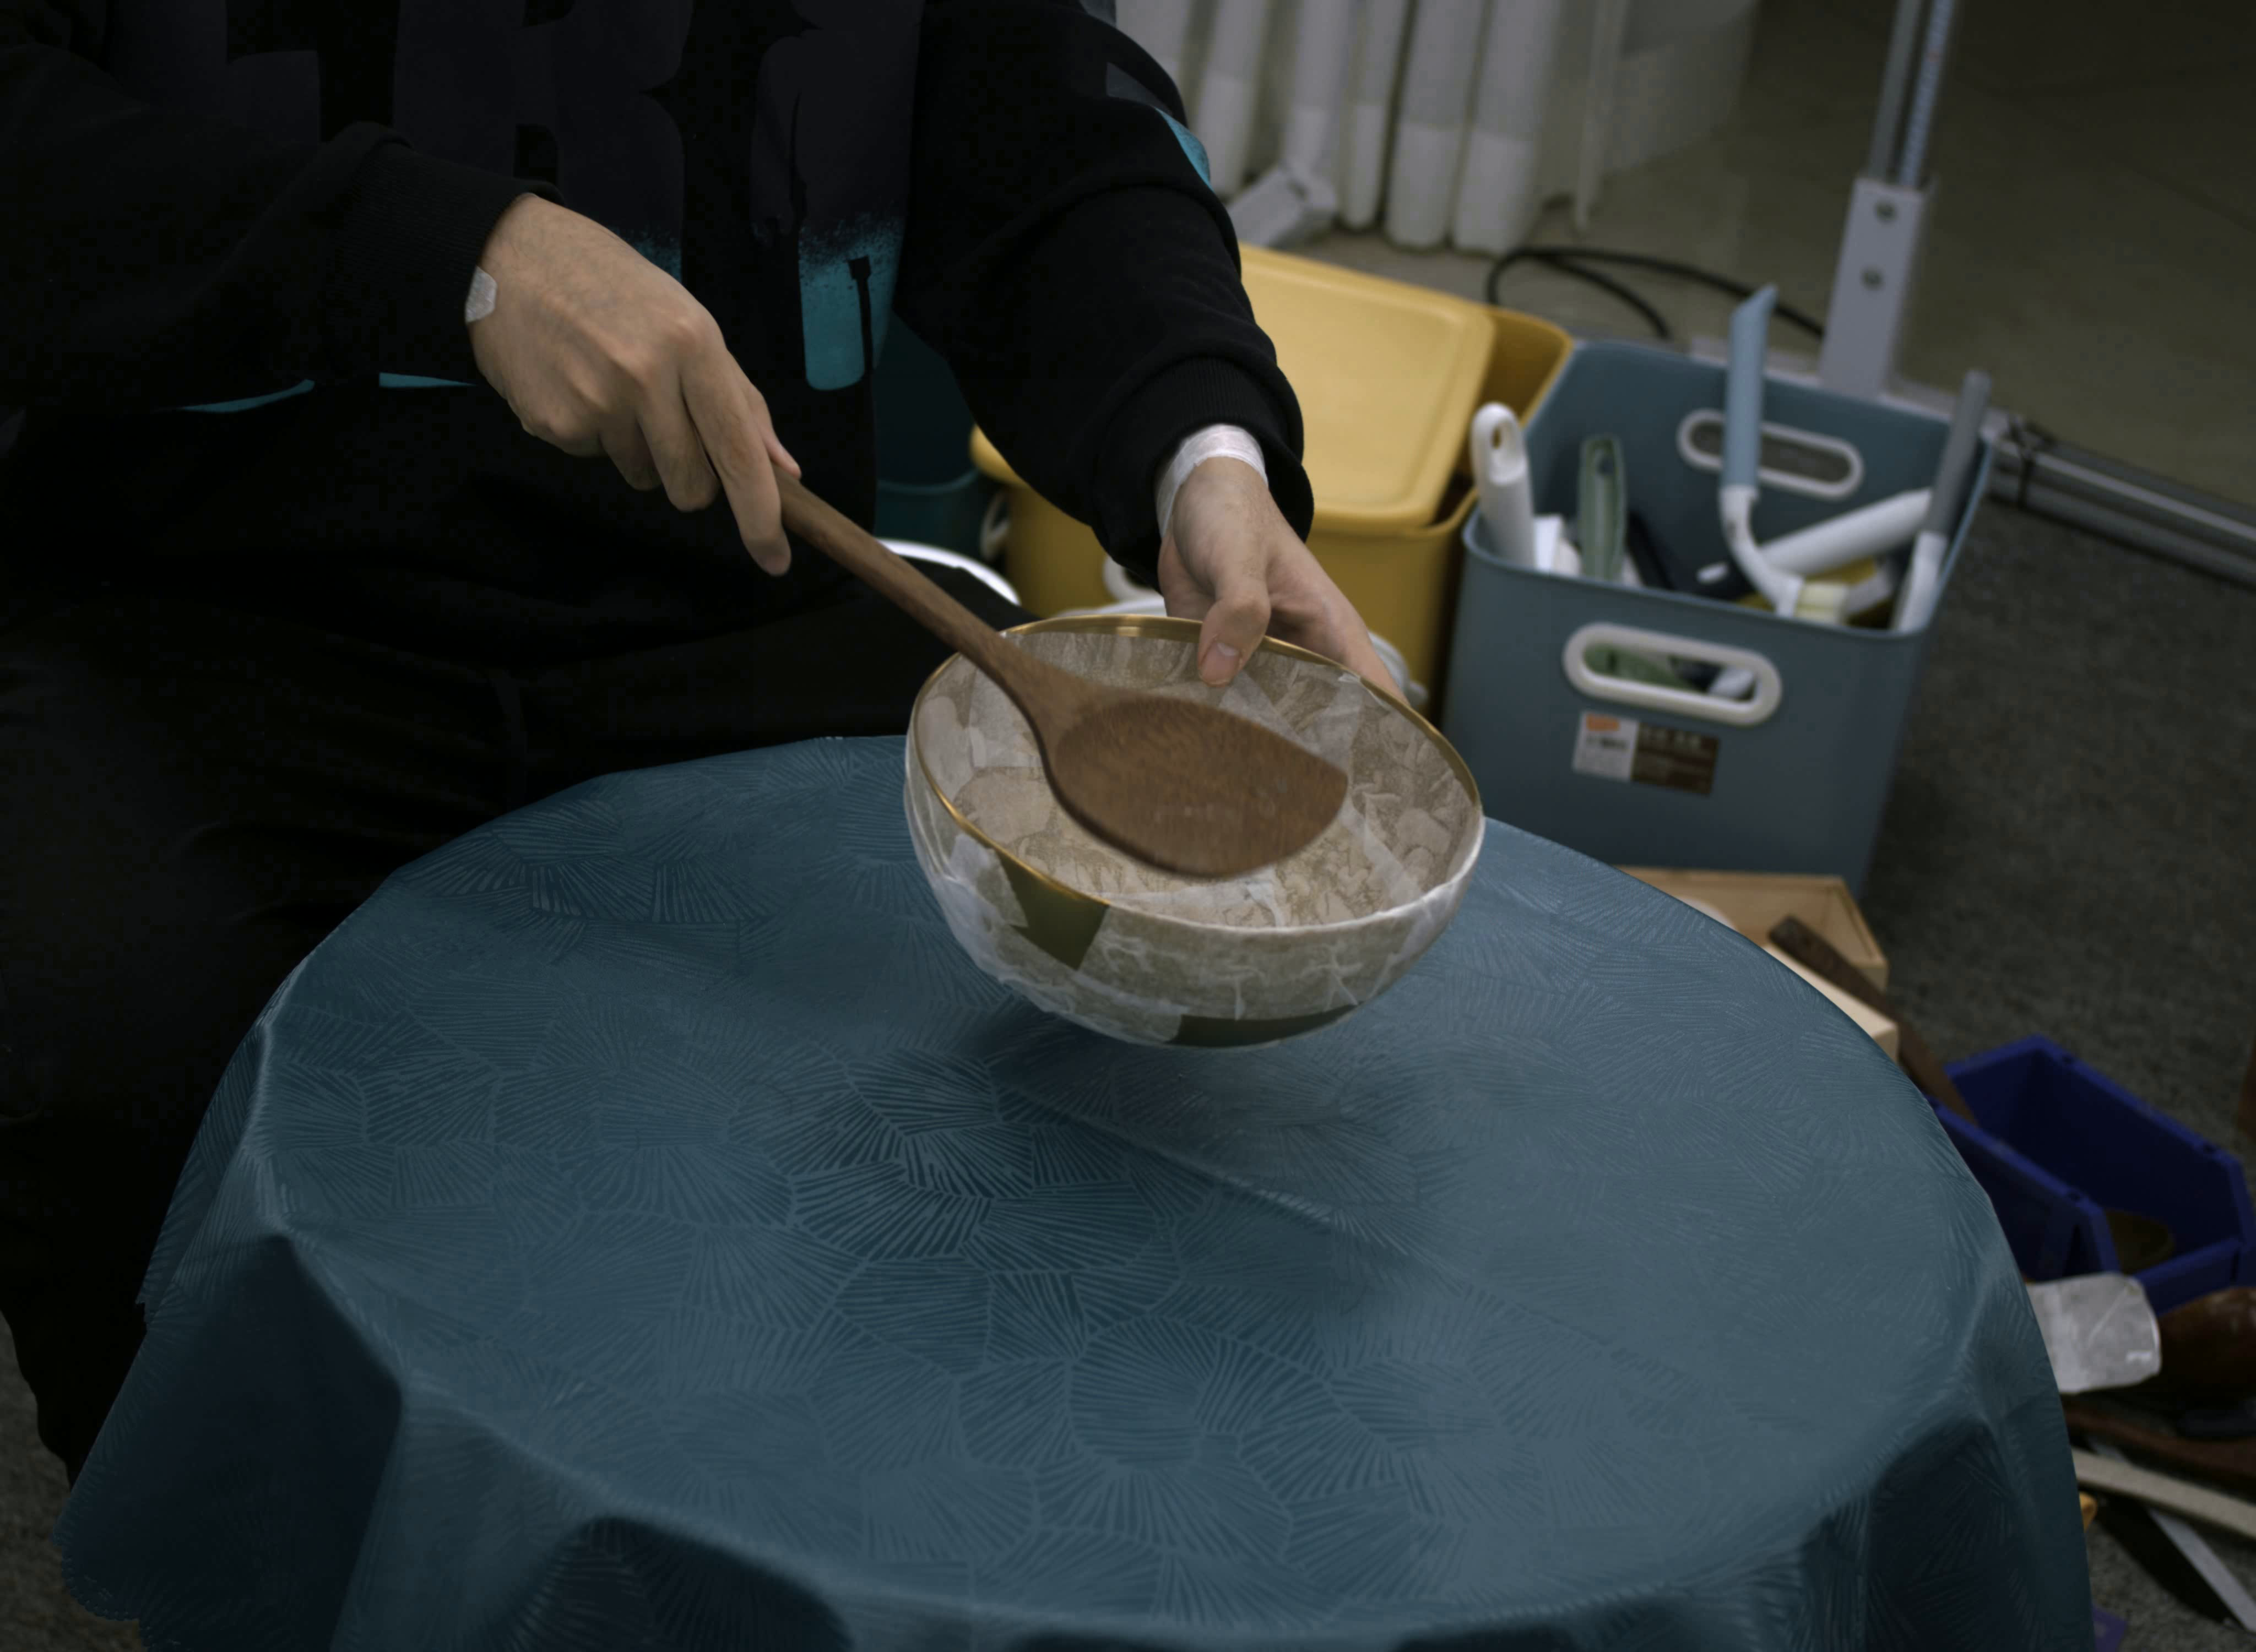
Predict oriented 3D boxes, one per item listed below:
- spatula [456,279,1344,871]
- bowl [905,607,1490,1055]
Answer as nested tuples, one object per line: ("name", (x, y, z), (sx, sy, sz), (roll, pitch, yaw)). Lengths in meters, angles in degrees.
("spatula", (-0.091, -0.094, 1.834), (0.388, 0.016, 0.096), (35, 40, 23))
("bowl", (0.018, 0.015, 1.835), (0.214, 0.094, 0.216), (7, 31, -4))
